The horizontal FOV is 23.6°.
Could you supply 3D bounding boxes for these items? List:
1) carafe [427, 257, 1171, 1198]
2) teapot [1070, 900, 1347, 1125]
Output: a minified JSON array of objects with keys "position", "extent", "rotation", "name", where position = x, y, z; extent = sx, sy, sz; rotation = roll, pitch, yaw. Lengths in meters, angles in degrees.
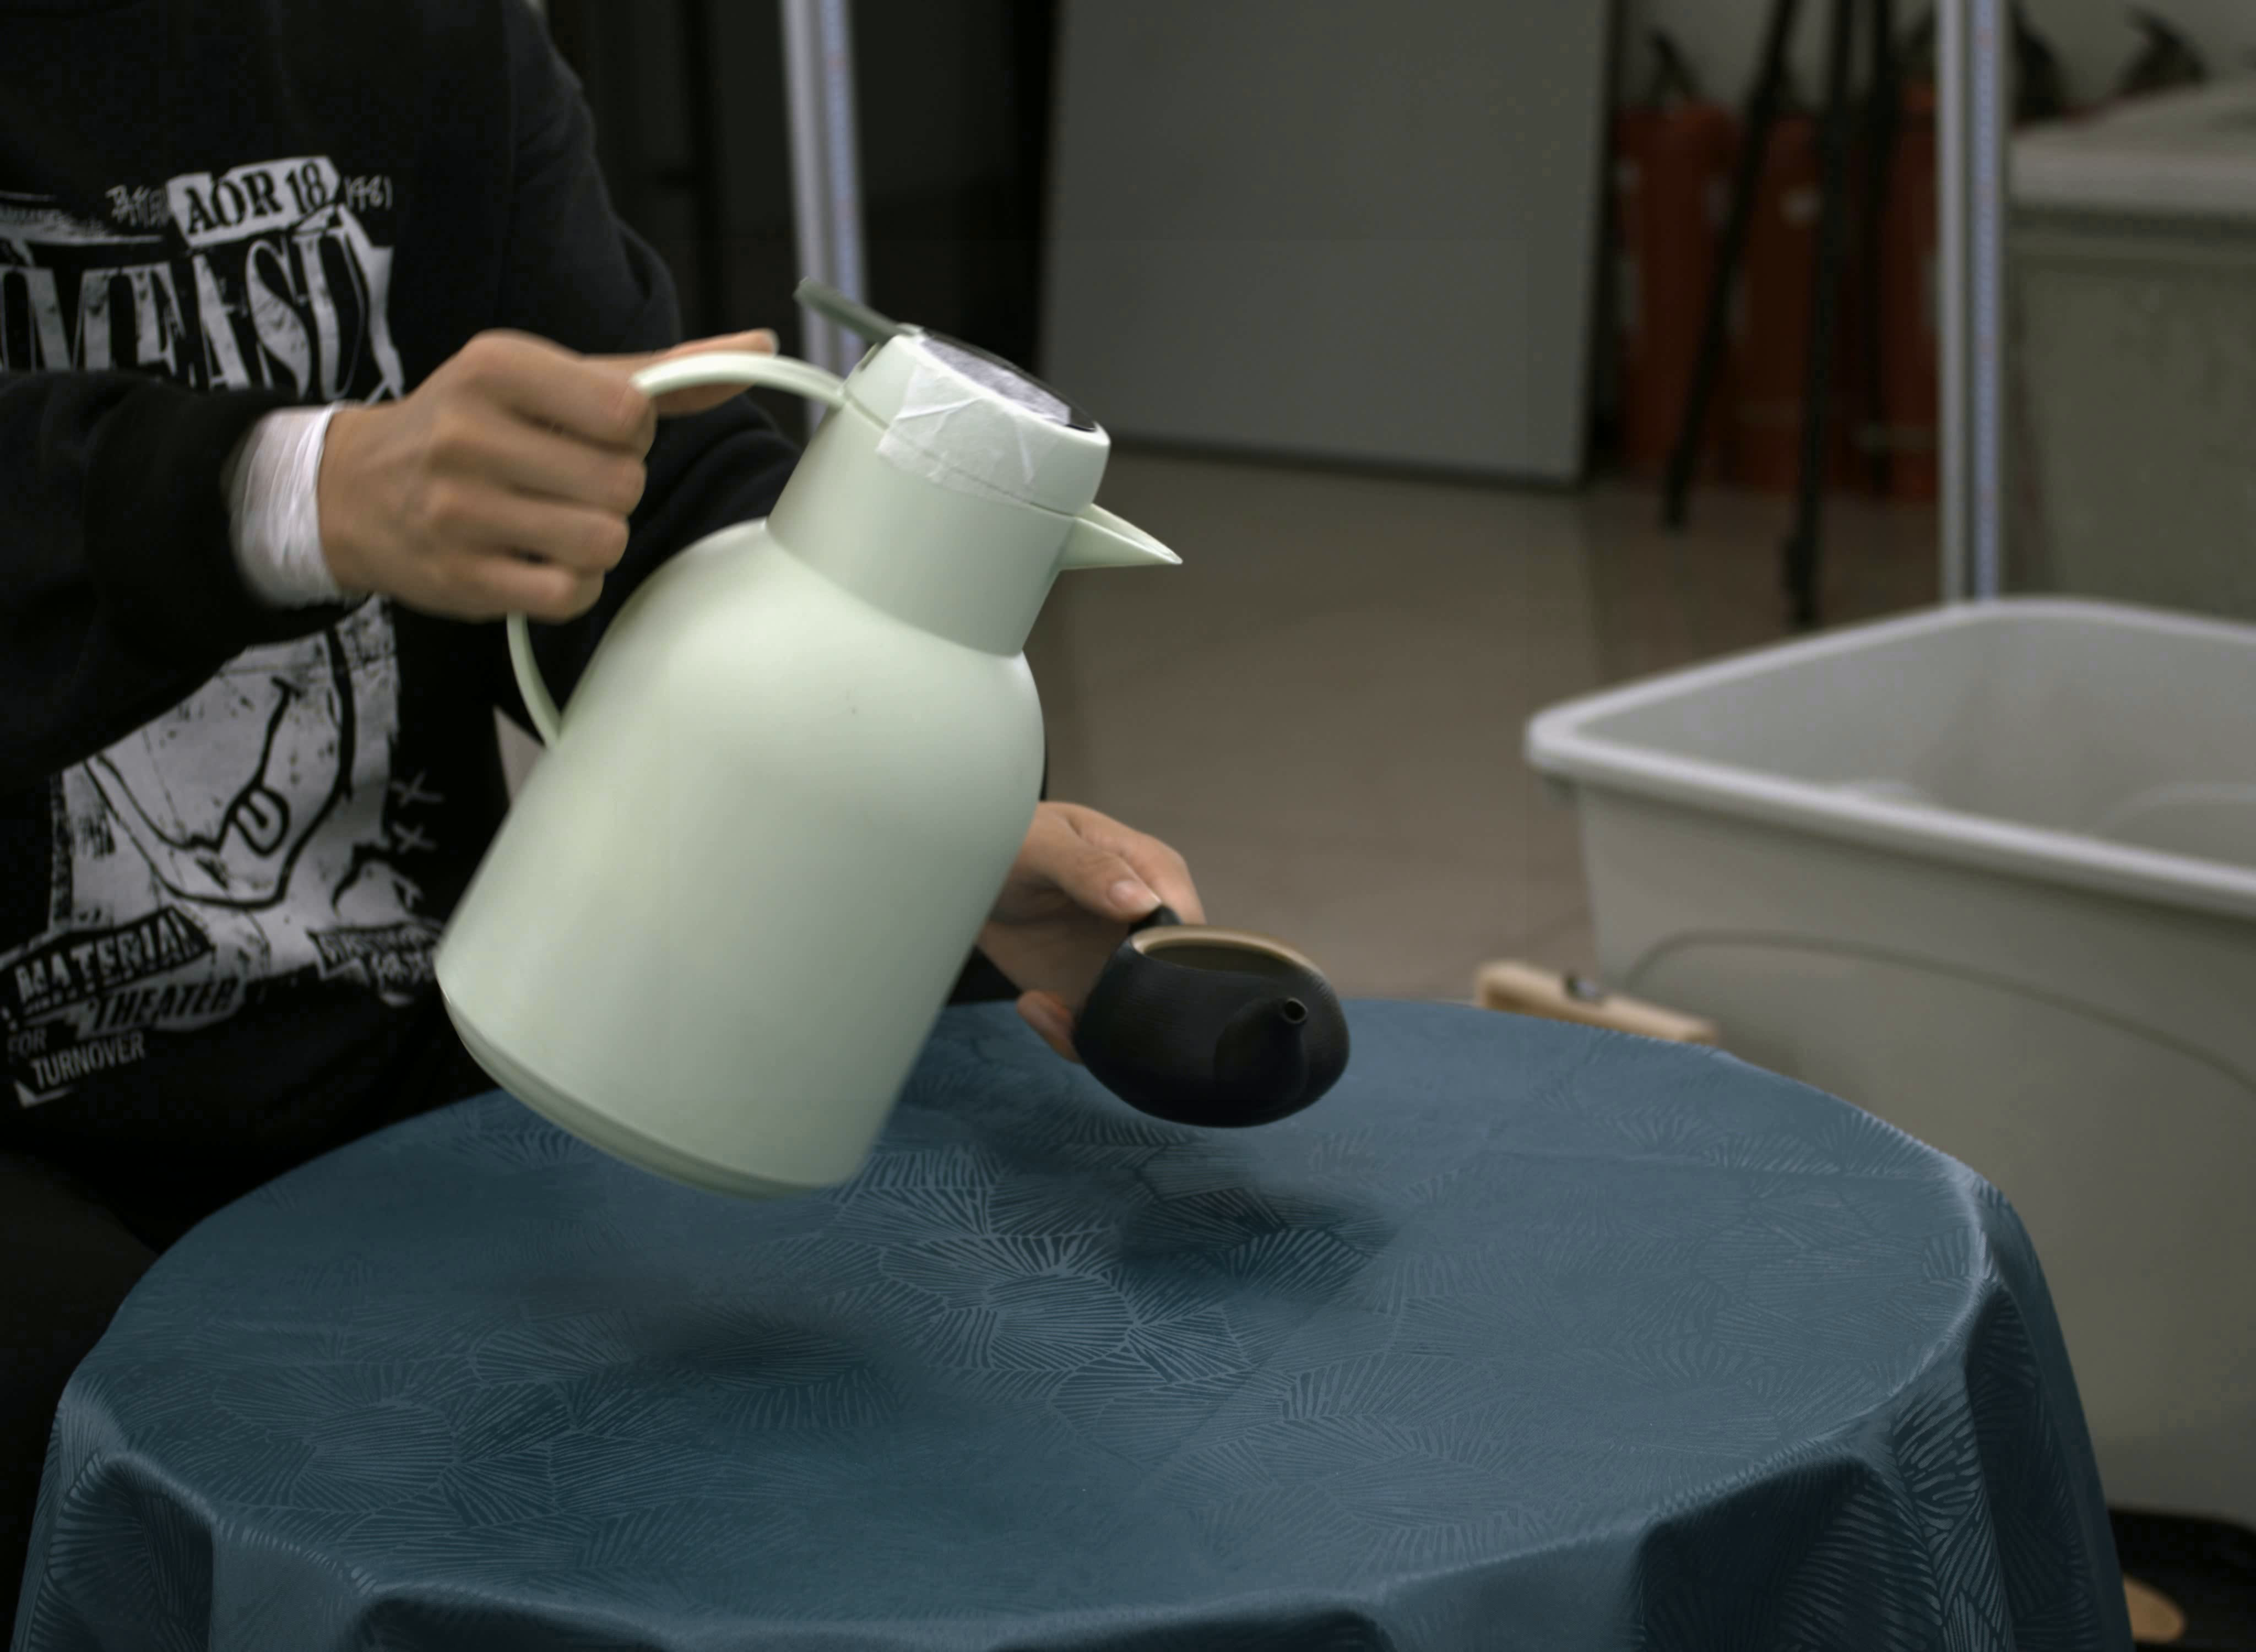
[{"position":[-0.110,-0.034,1.618],"extent":[0.184,0.259,0.144],"rotation":[23,13,-8],"name":"carafe"},{"position":[0.026,0.063,1.736],"extent":[0.089,0.054,0.134],"rotation":[1,15,-22],"name":"teapot"}]
